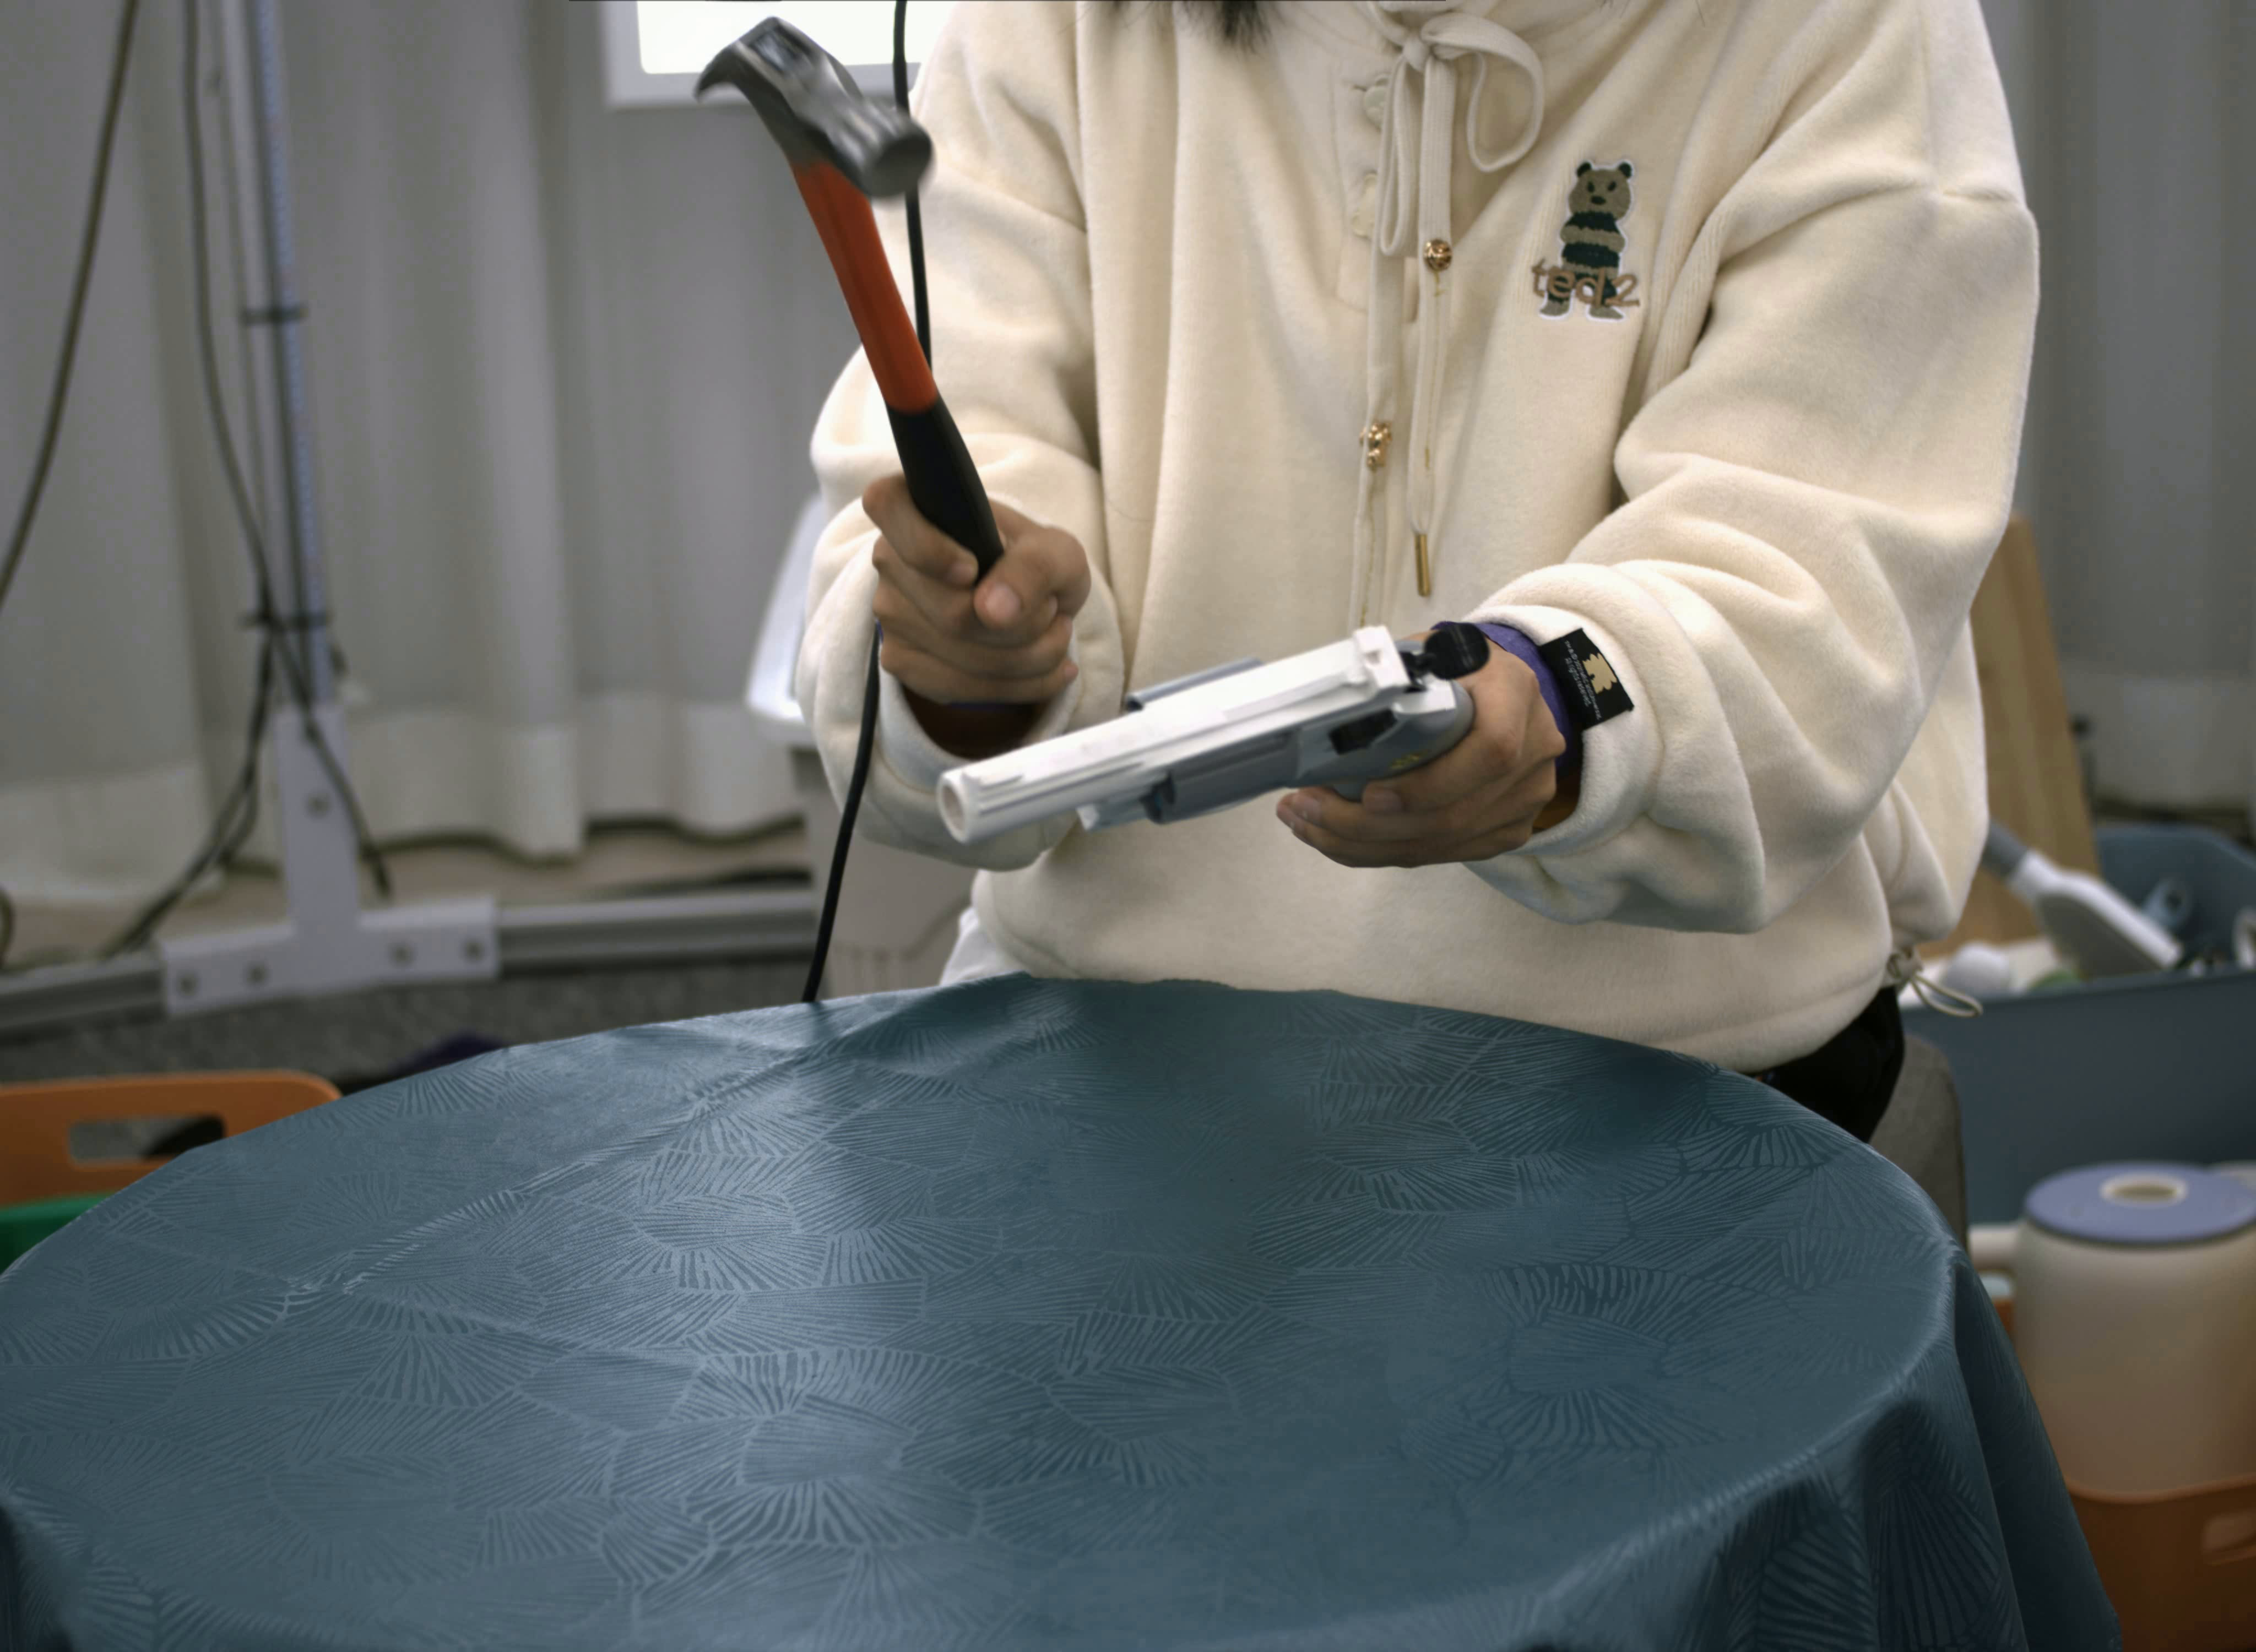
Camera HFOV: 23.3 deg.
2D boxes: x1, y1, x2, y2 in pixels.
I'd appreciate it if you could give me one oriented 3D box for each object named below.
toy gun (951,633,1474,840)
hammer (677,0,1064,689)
[{"bbox_3d":[0.028,-0.018,1.576,0.208,0.039,0.141,-16,-12,-26],"label":"toy gun"},{"bbox_3d":[-0.069,-0.144,1.692,0.026,0.273,0.112,-42,49,-21],"label":"hammer"}]
